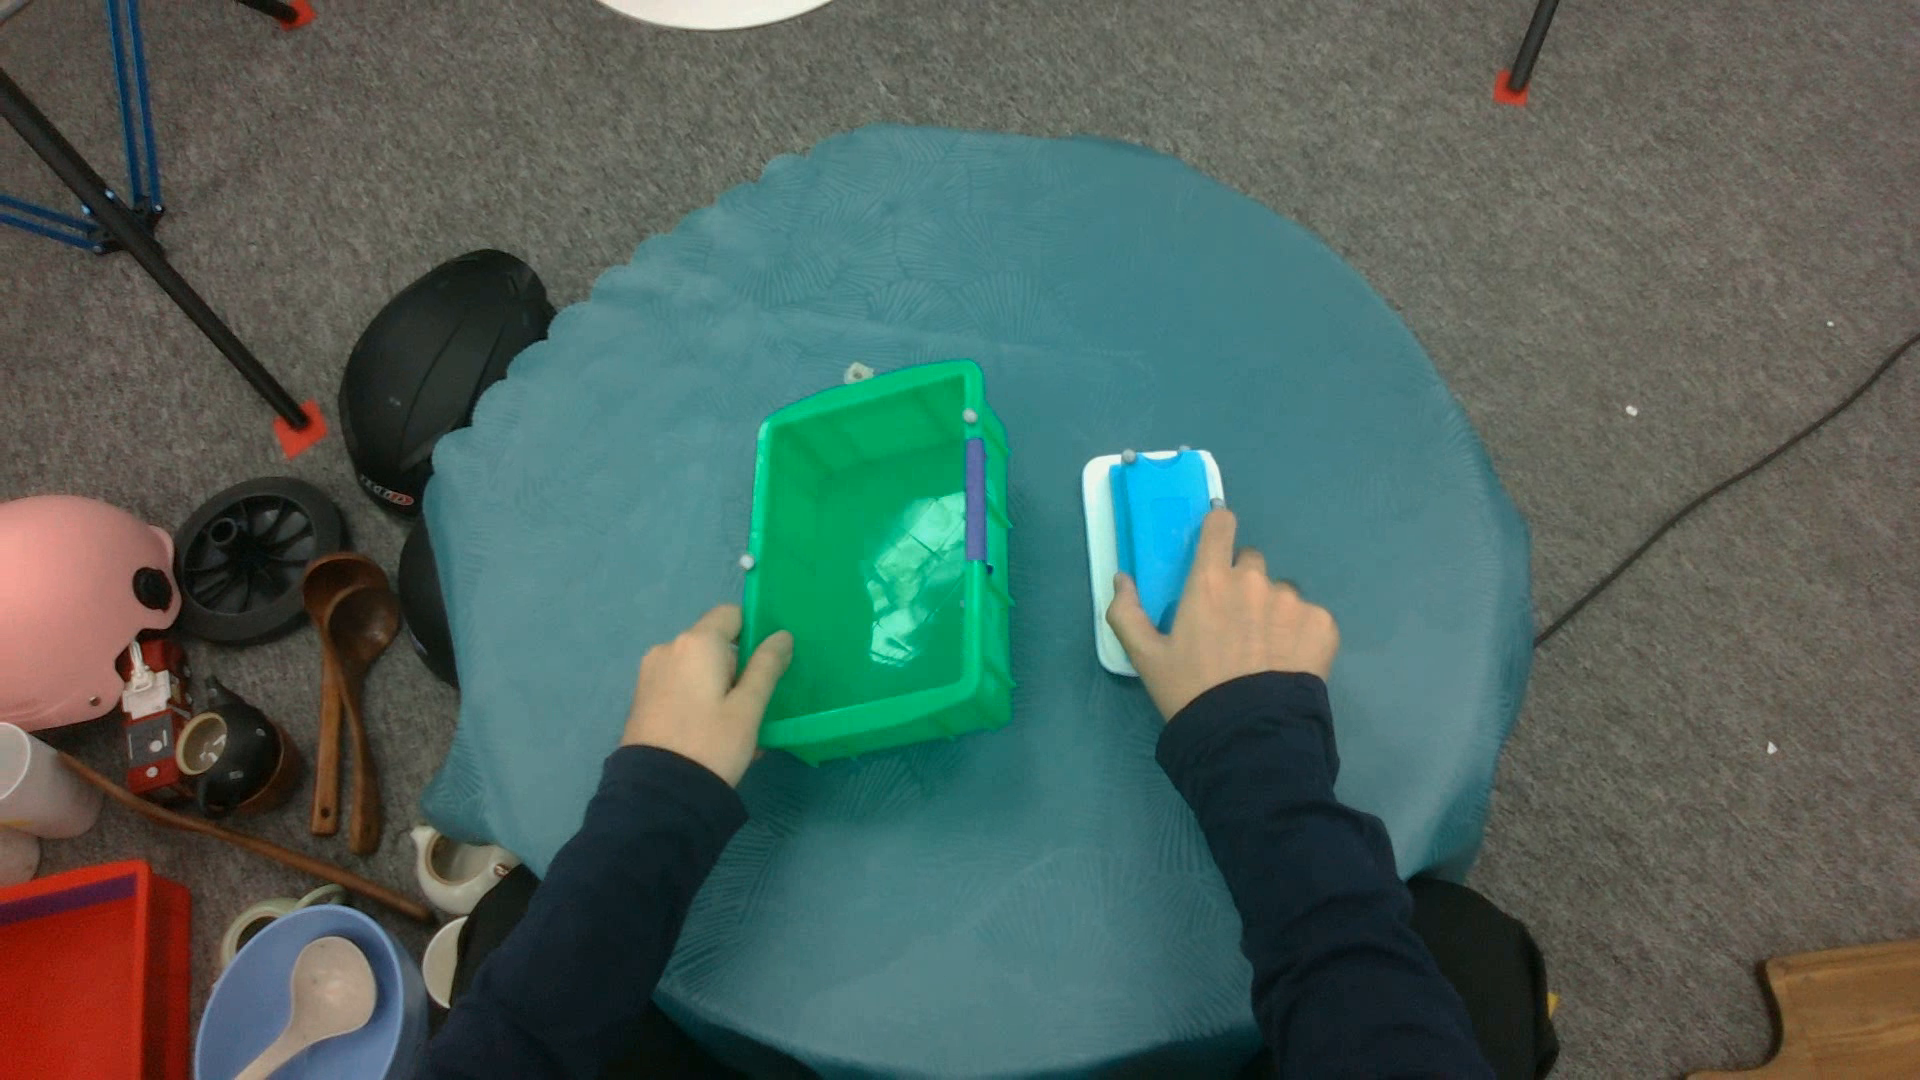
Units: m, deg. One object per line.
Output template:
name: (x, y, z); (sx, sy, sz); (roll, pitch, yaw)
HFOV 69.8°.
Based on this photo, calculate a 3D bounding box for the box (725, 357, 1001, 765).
box: (-0.049, 0.015, 0.740); (0.138, 0.065, 0.211); (-16, 57, 21)

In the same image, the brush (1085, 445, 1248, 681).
brush: (0.111, 0.005, 0.761); (0.084, 0.055, 0.144); (-4, 58, 3)
